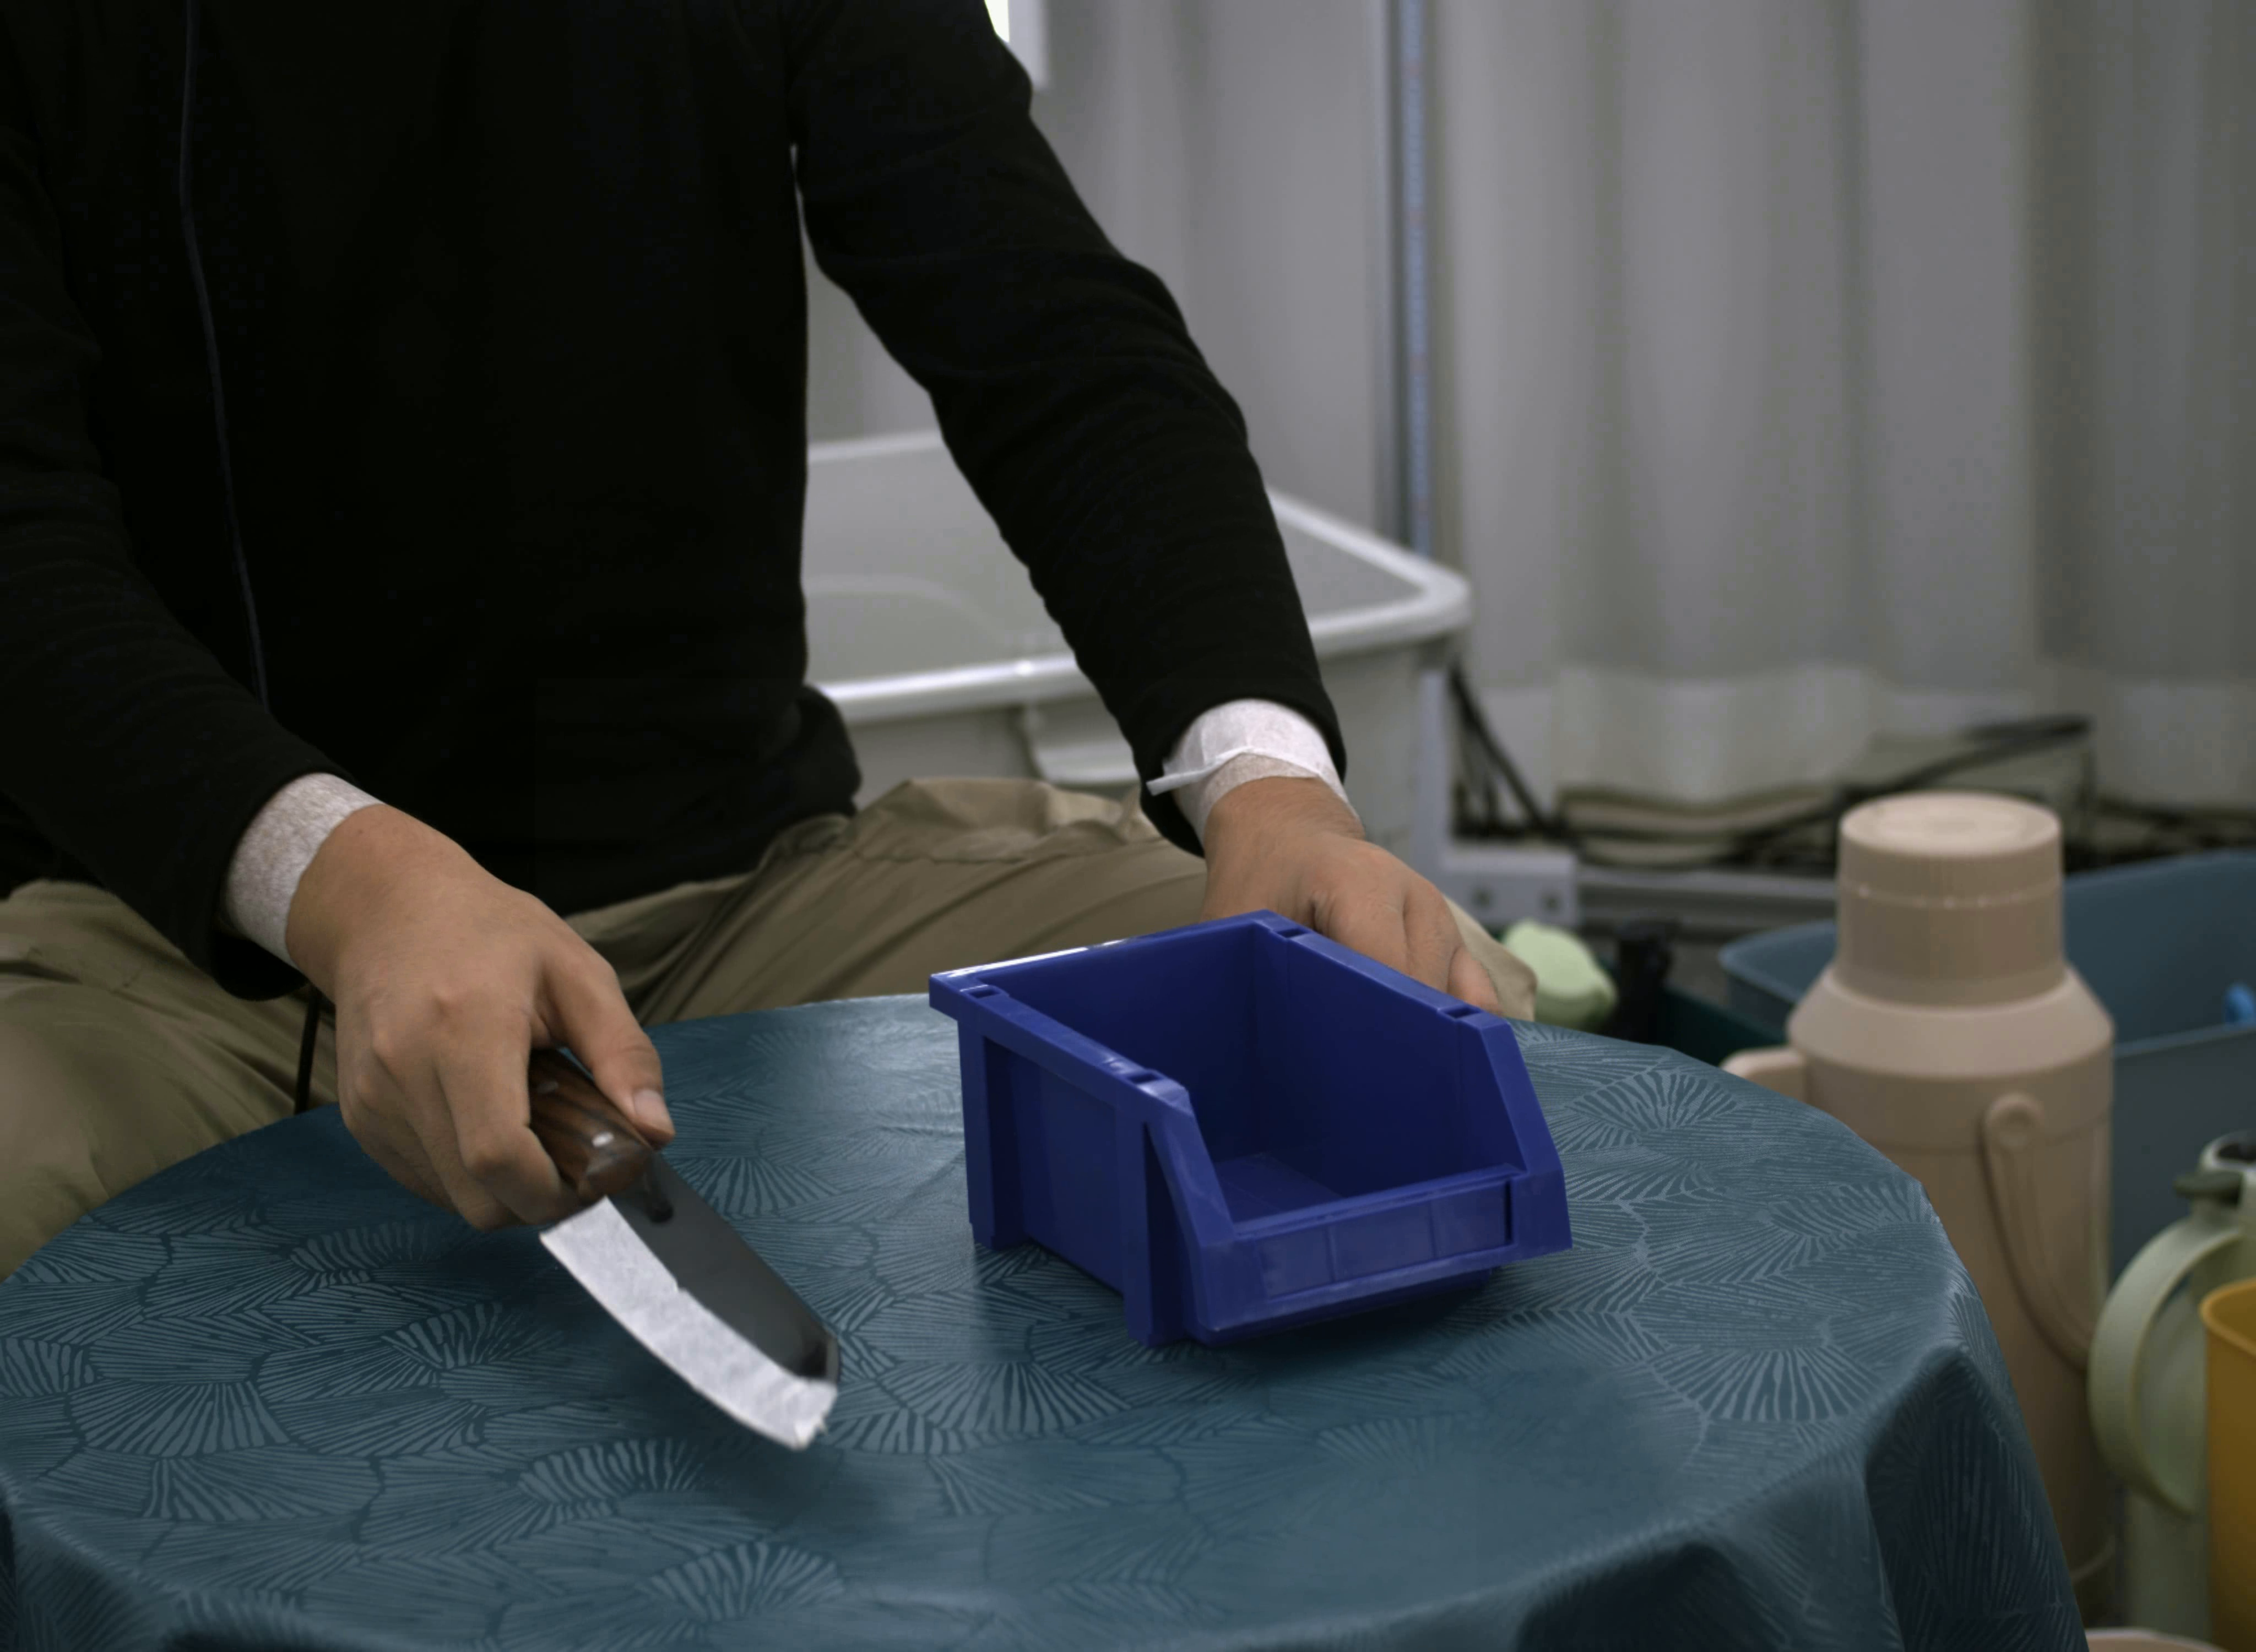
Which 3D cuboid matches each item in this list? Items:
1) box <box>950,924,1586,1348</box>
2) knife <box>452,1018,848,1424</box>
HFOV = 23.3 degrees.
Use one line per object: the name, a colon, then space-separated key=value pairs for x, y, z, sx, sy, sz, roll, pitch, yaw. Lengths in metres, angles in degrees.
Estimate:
box: x=0.041 y=0.094 z=1.627 sx=0.124 sy=0.081 sz=0.180 roll=-9 pitch=13 yaw=-24
knife: x=-0.141 y=0.112 z=1.569 sx=0.050 sy=0.020 sz=0.292 roll=-26 pitch=27 yaw=-15
